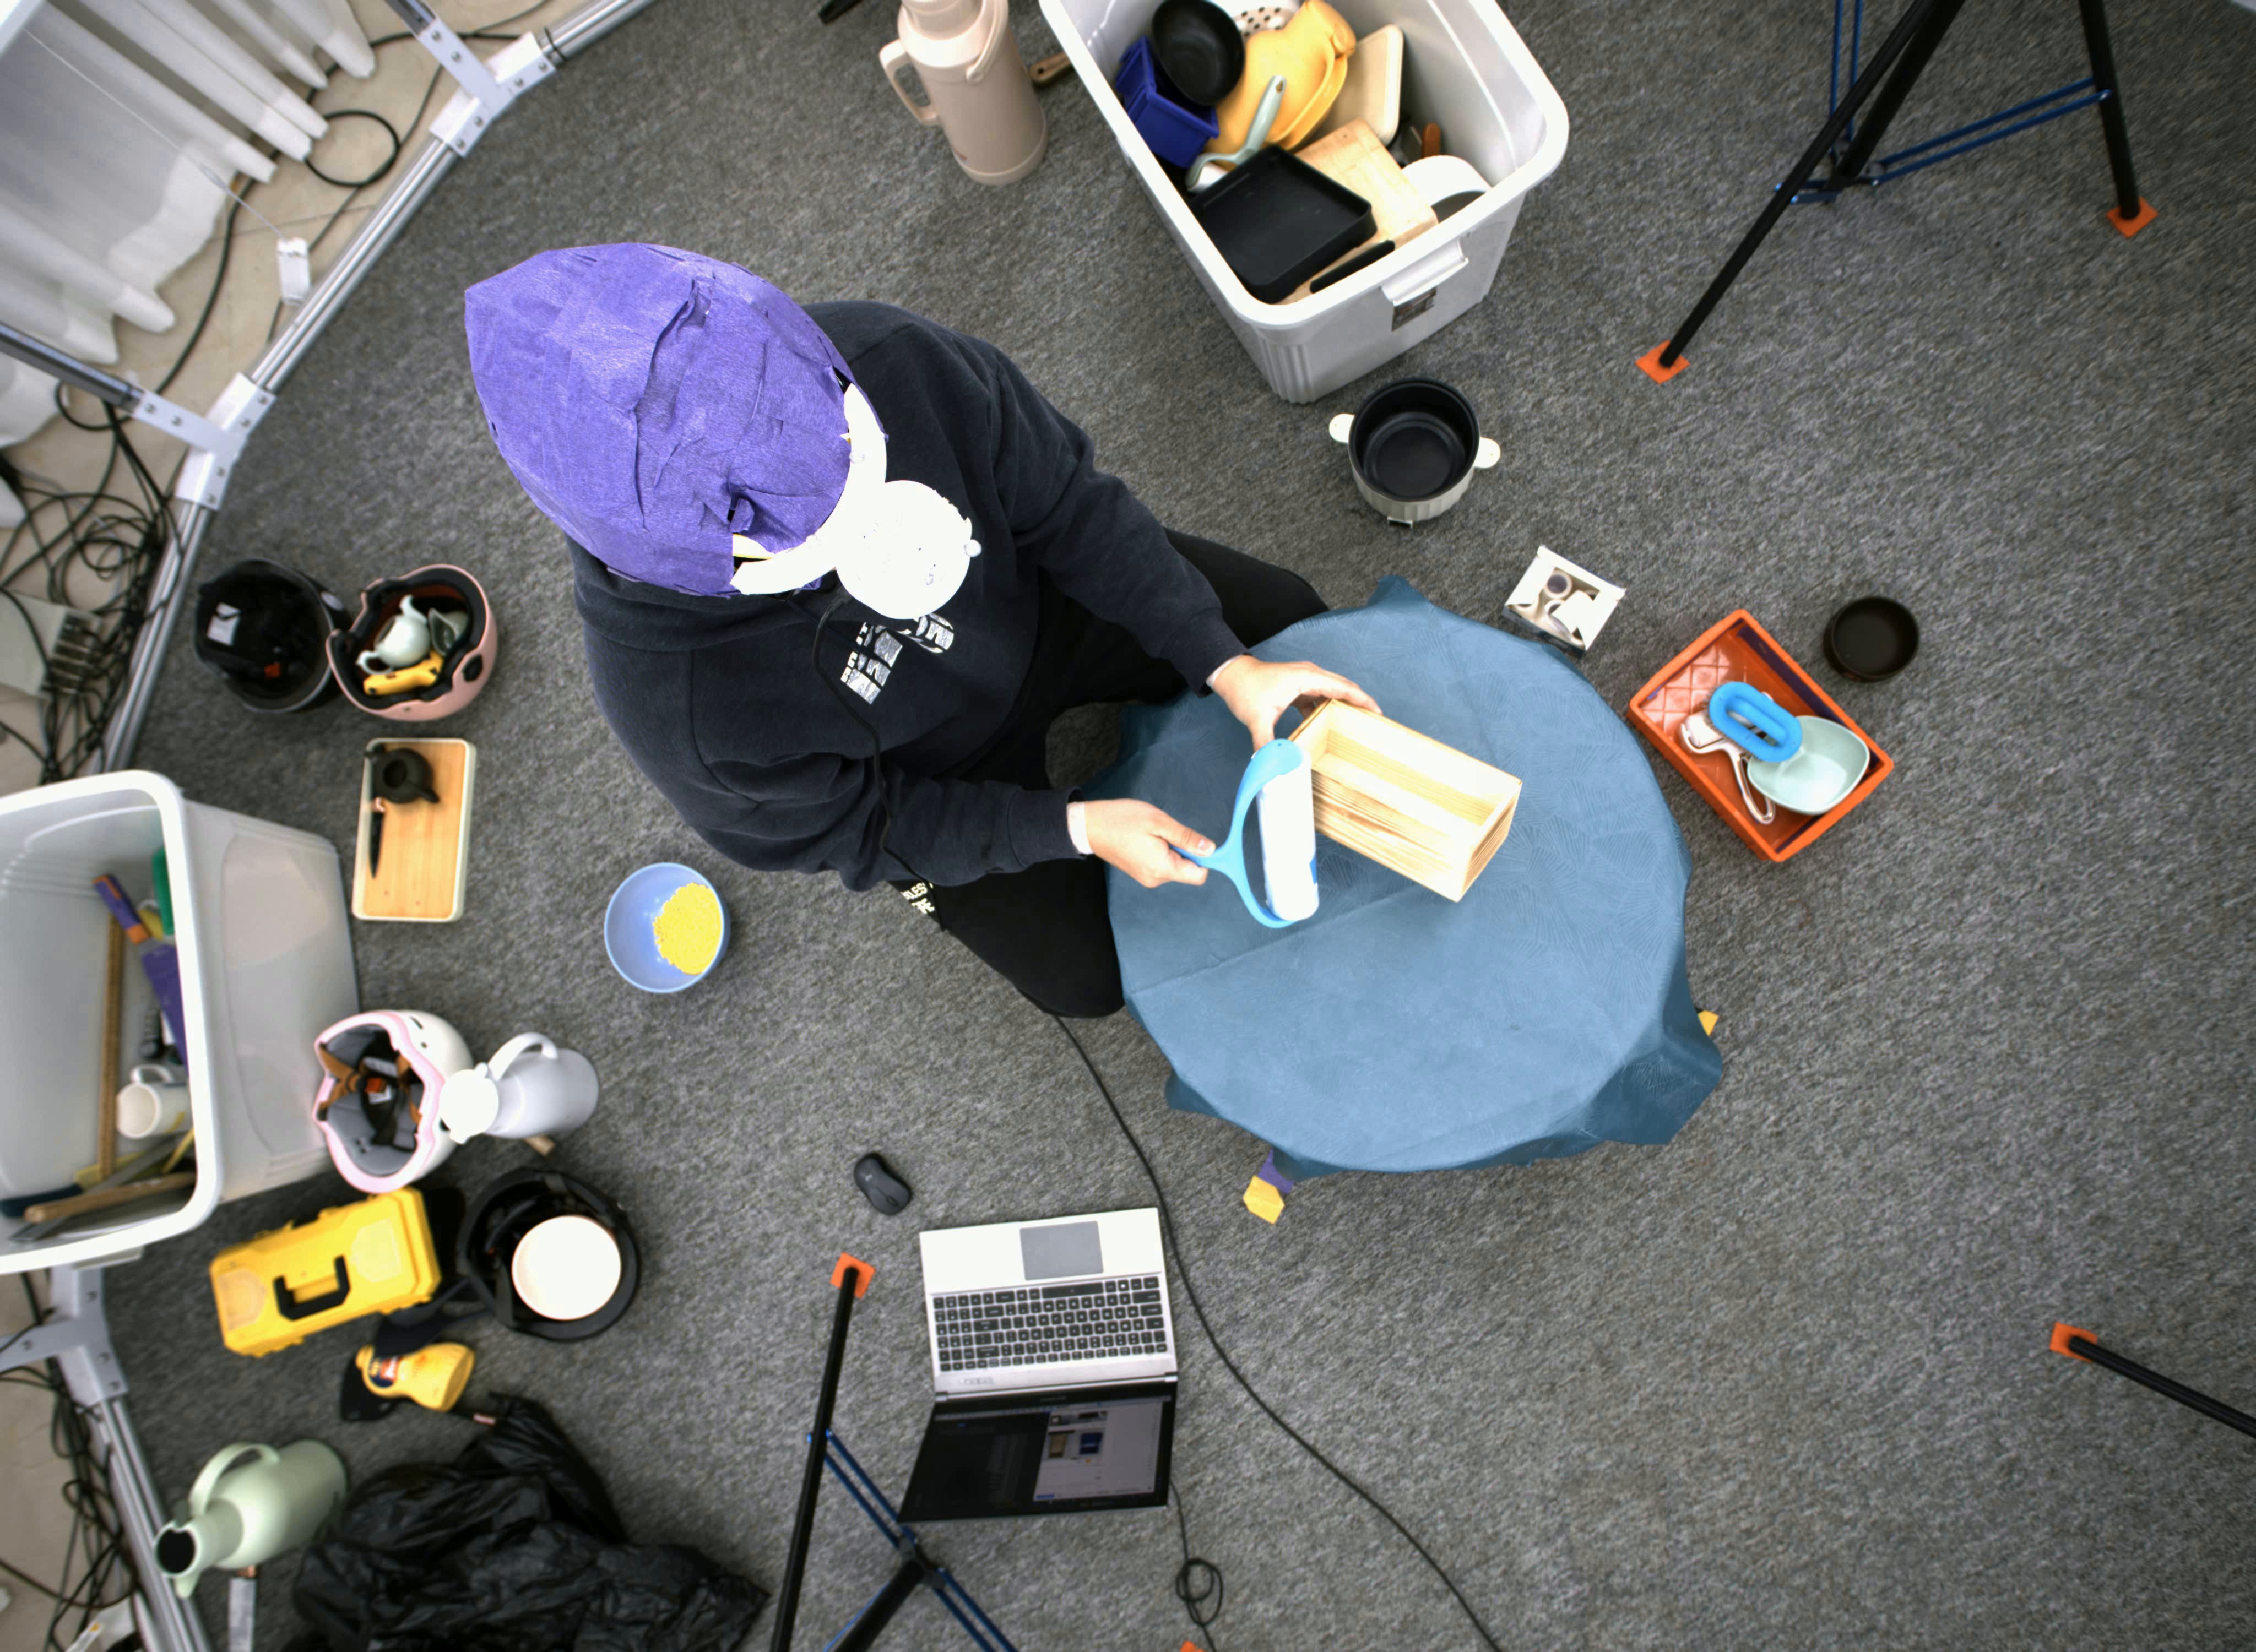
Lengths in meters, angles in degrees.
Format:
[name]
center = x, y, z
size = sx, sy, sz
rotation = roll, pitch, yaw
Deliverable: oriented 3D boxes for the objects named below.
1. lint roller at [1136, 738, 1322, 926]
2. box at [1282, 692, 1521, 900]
[lint roller]
center = 0.098, 0.014, 1.351
size = 0.181, 0.234, 0.066
rotation = -7, 46, 7
[box]
center = 0.256, -0.033, 1.334
size = 0.210, 0.082, 0.105
rotation = 27, 55, 23
